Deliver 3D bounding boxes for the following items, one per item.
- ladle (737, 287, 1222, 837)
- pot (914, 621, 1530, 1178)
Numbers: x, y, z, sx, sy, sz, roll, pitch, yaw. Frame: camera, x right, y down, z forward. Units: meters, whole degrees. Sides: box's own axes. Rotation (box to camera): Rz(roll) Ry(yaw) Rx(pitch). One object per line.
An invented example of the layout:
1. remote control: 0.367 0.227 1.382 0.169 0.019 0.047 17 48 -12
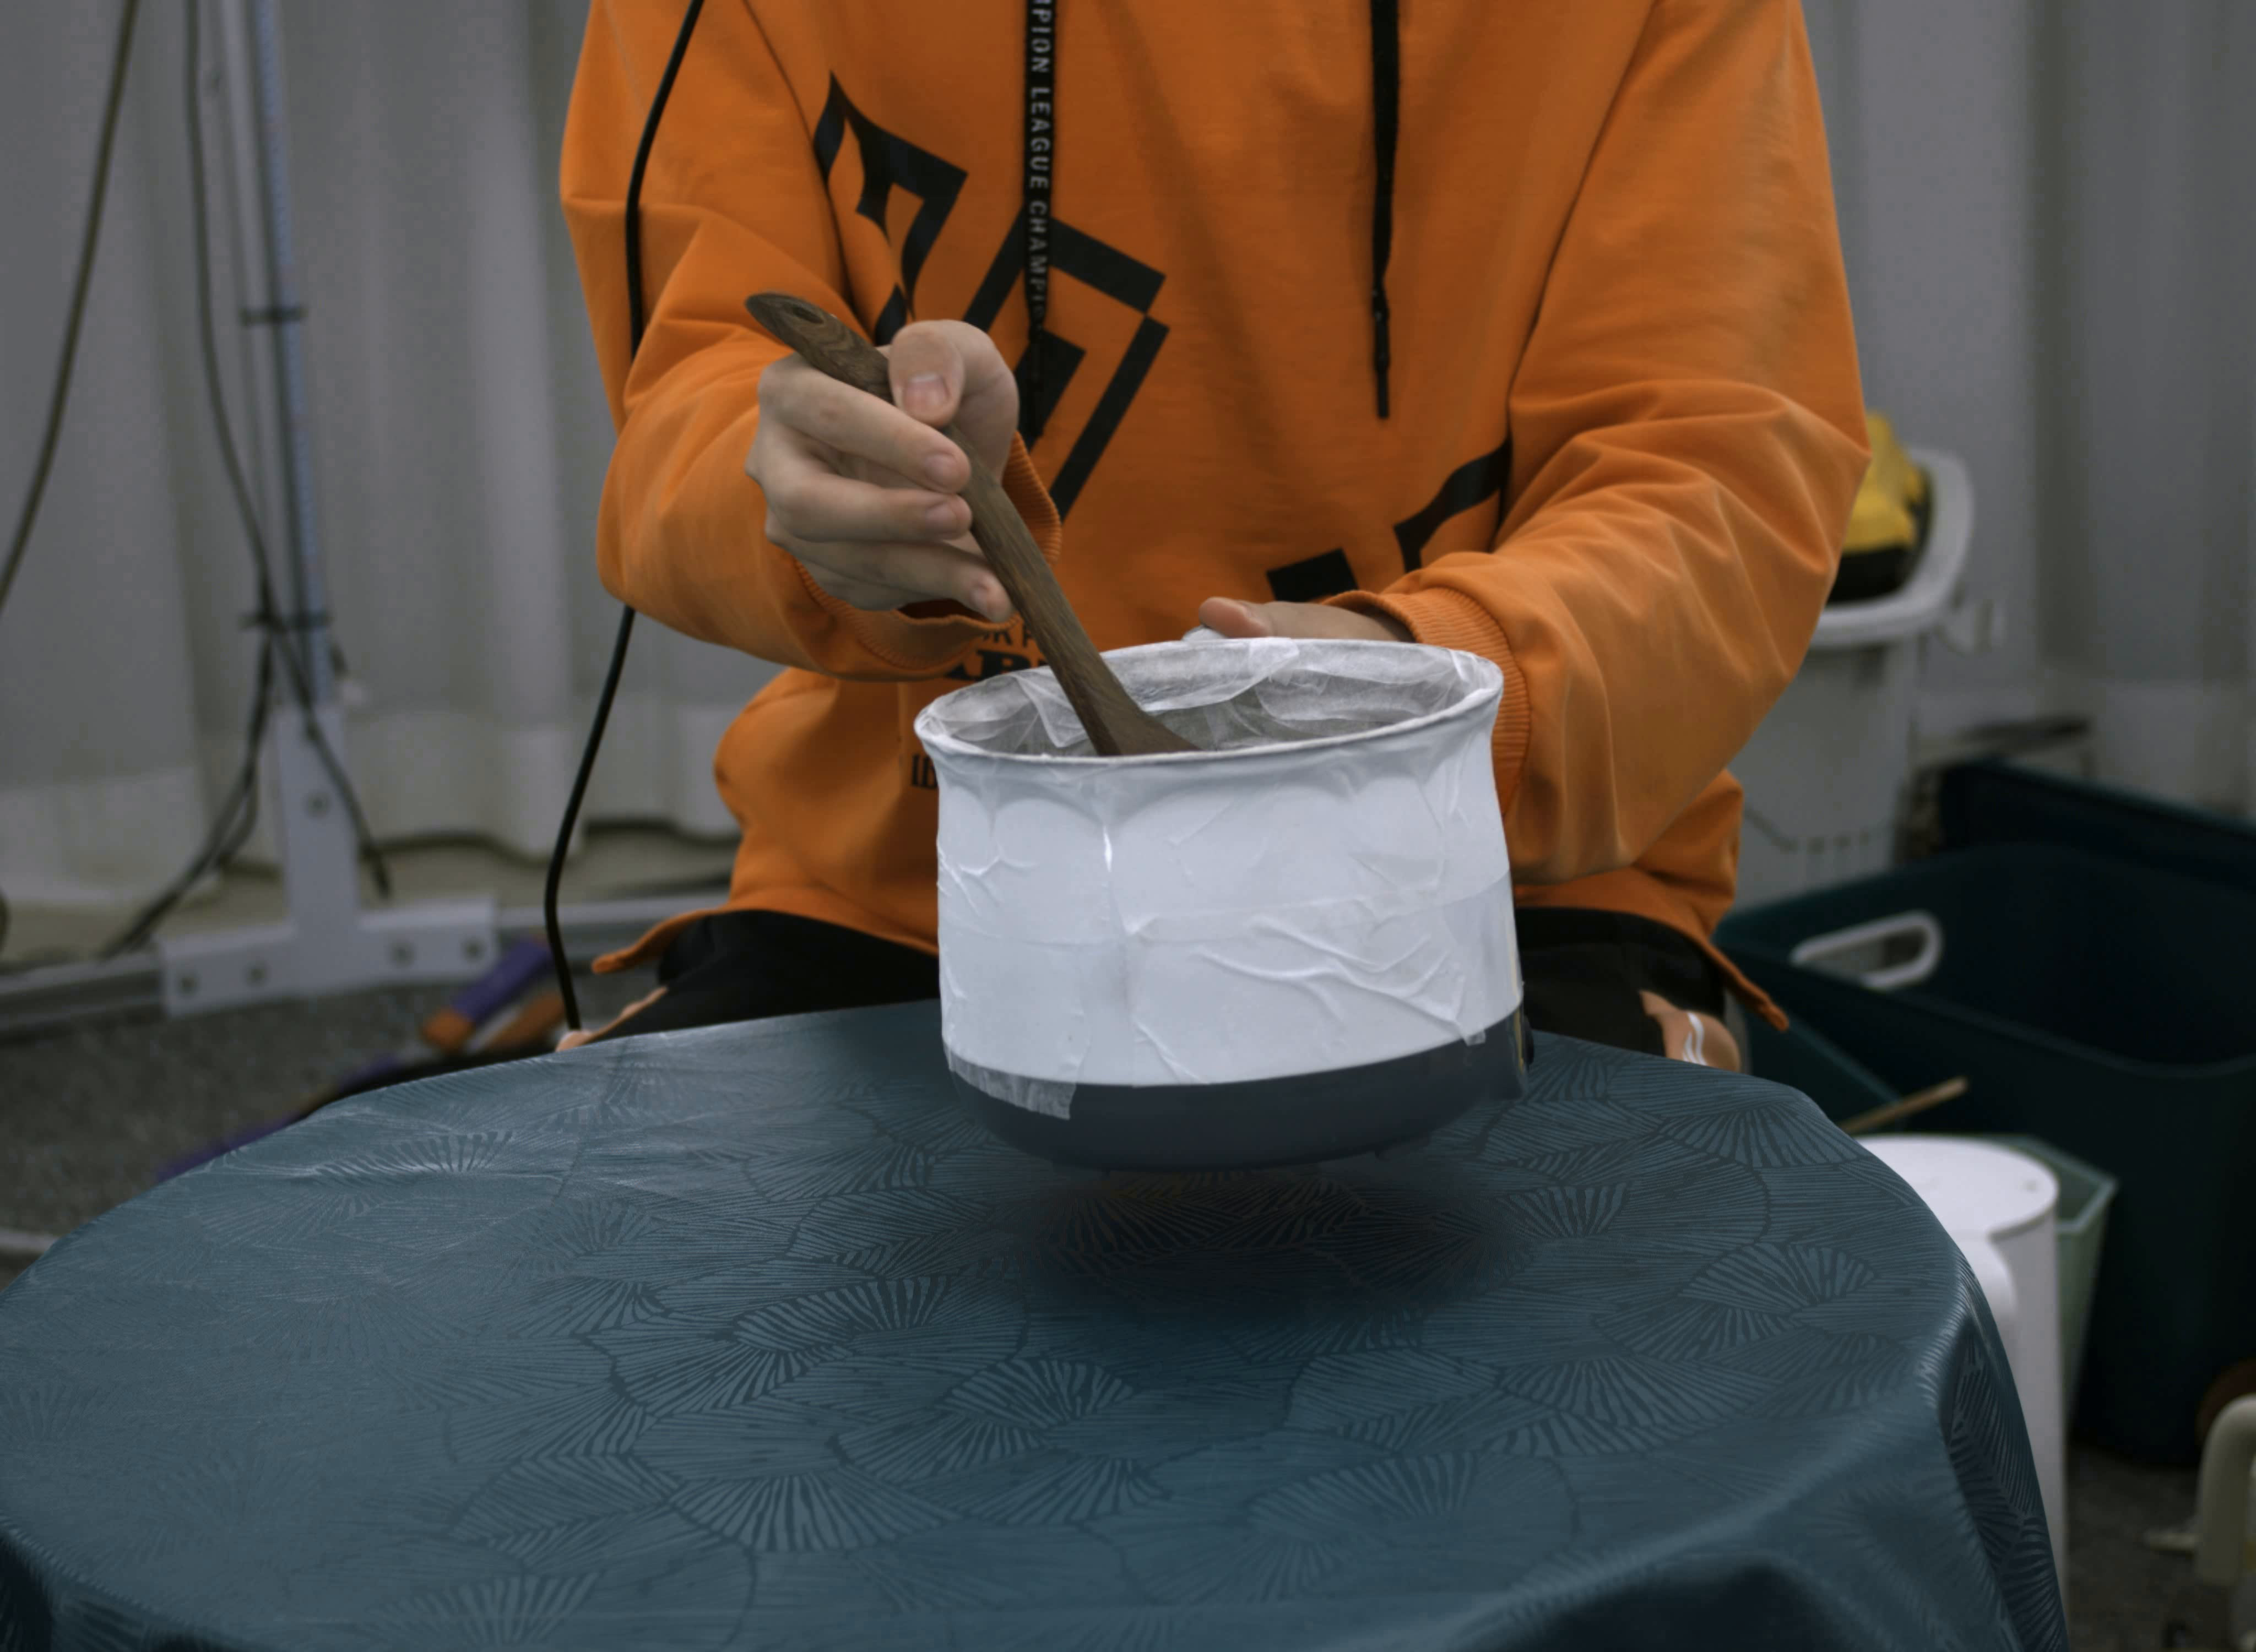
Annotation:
1. ladle: -0.021 -0.088 1.658 0.075 0.071 0.277 2 46 -56
2. pot: 0.028 0.017 1.667 0.178 0.136 0.235 -4 11 0
